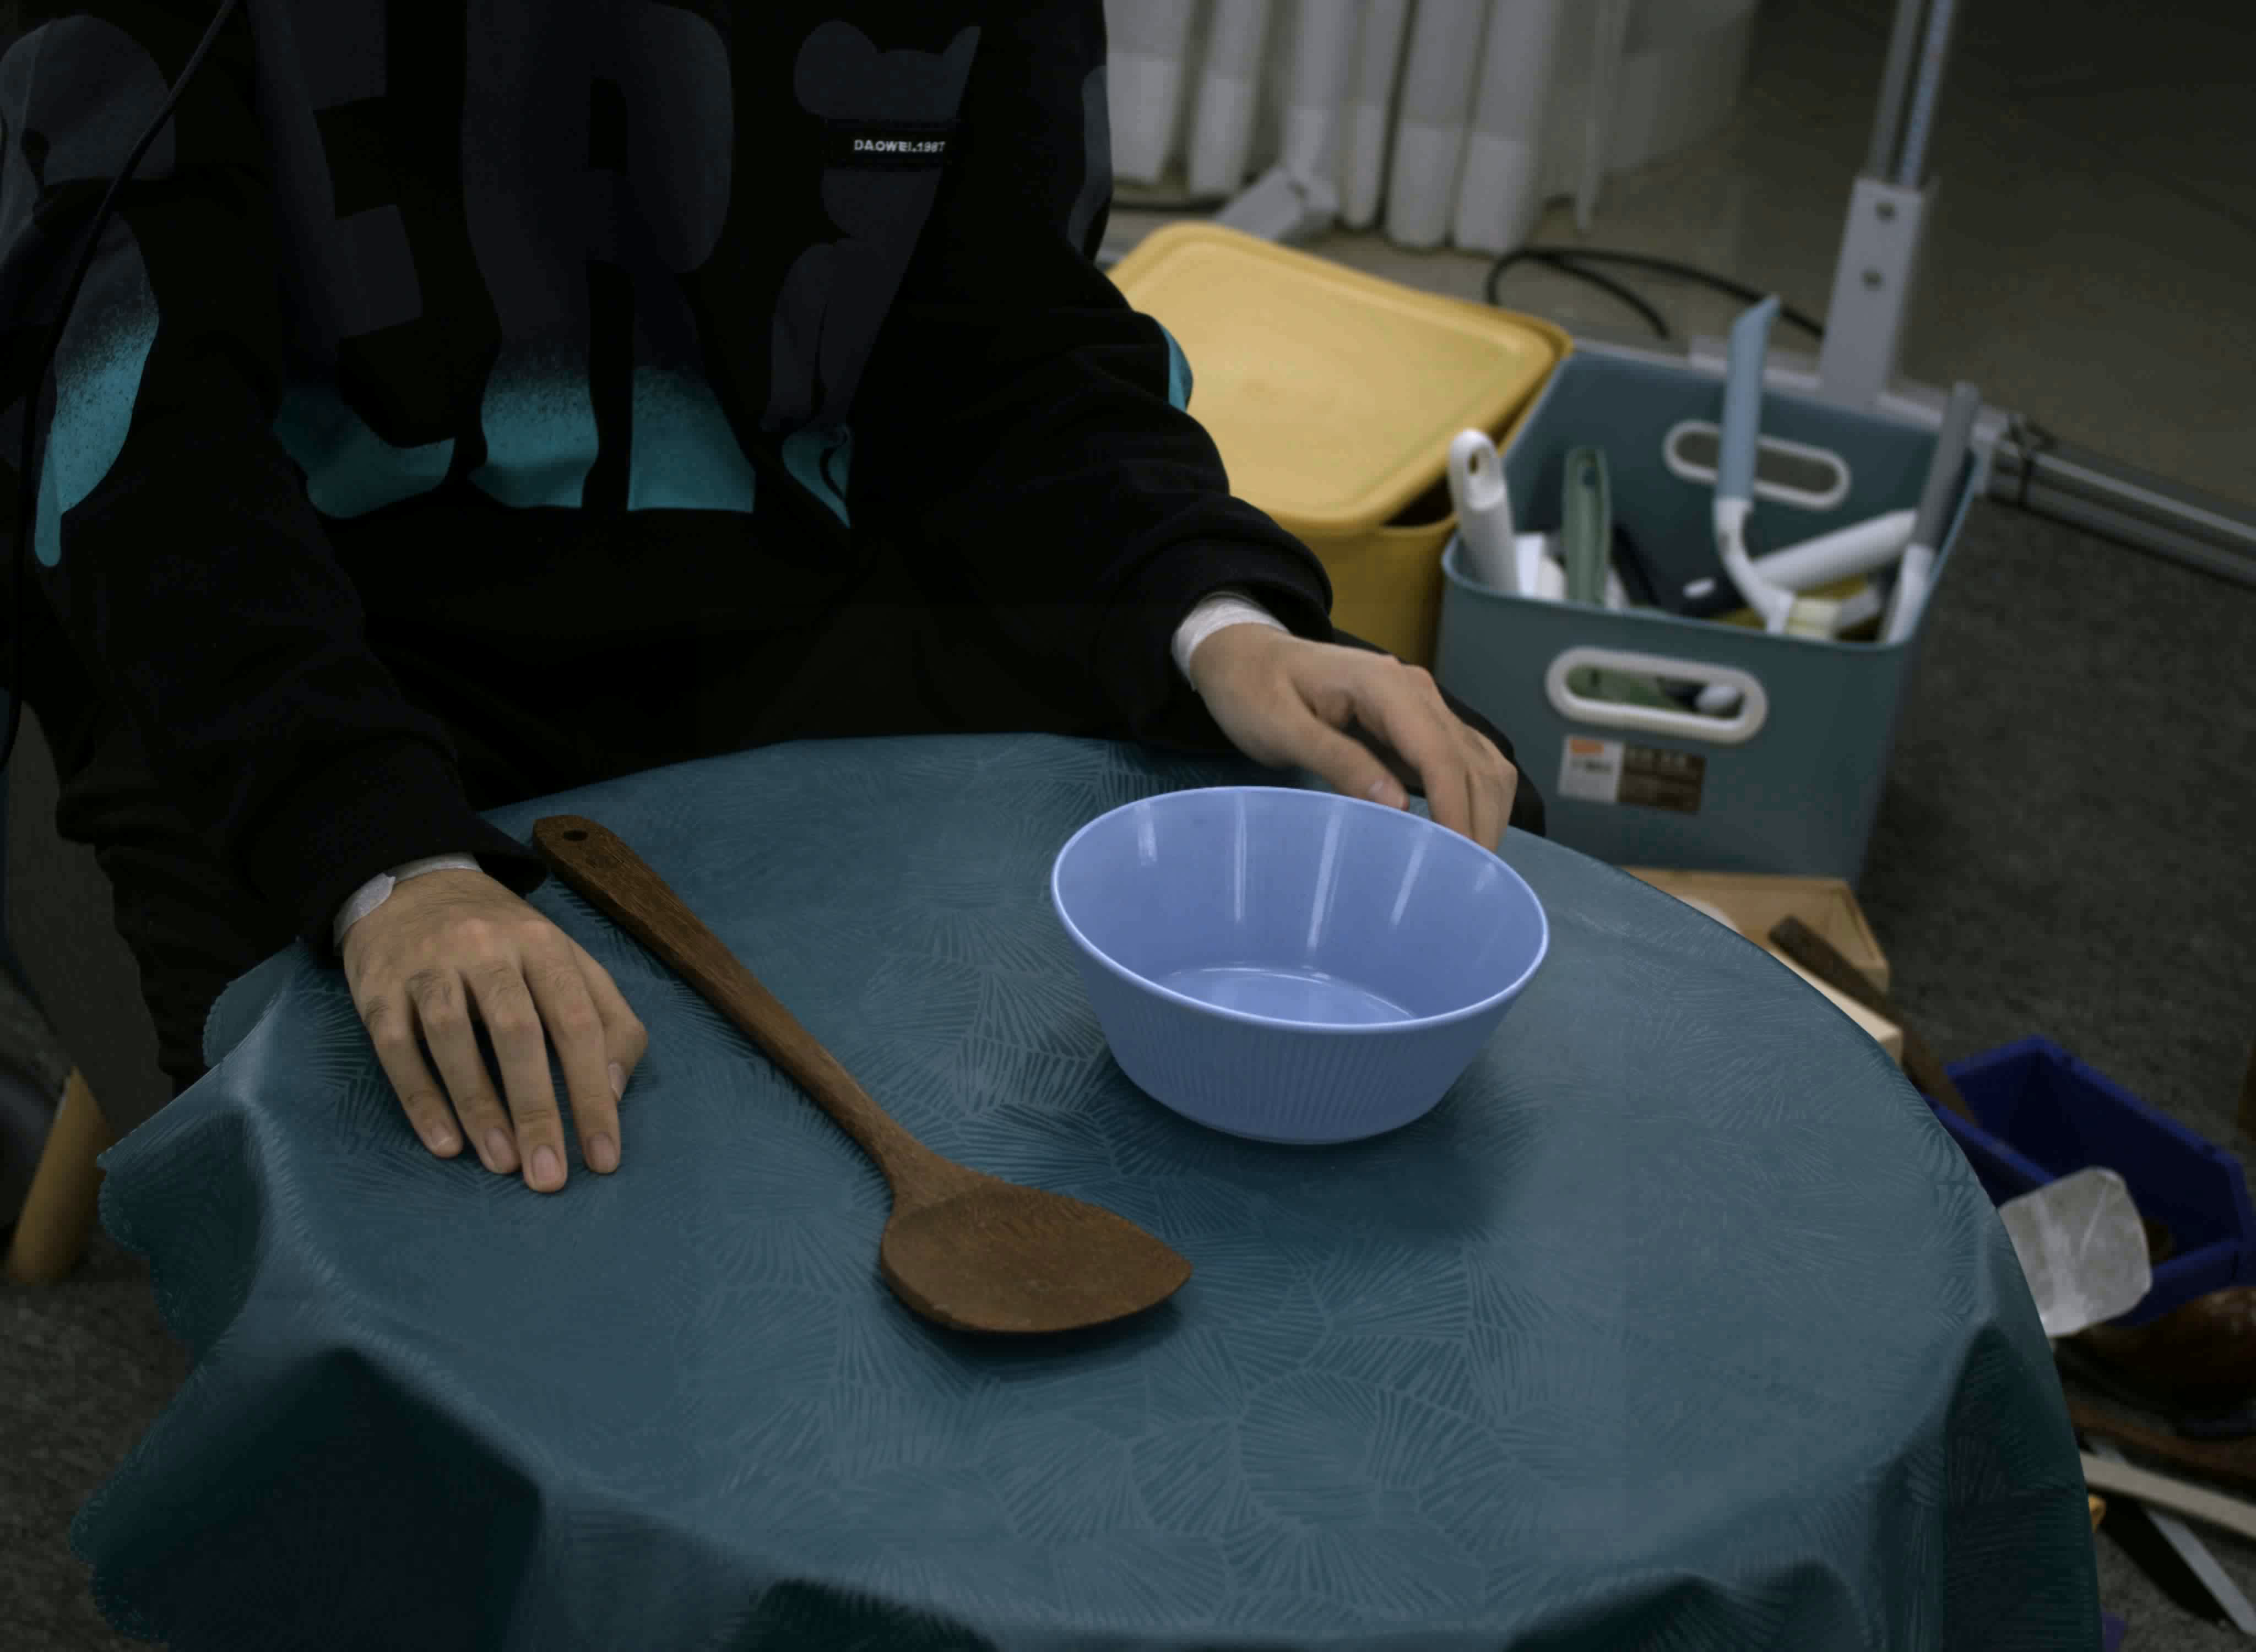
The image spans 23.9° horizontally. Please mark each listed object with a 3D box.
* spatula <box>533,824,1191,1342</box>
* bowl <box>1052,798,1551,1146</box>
[{"bbox_3d":[-0.113,0.081,1.845,0.095,0.016,0.389,-11,31,-31],"label":"spatula"},{"bbox_3d":[0.058,0.057,1.870,0.175,0.070,0.177,5,25,-2],"label":"bowl"}]
